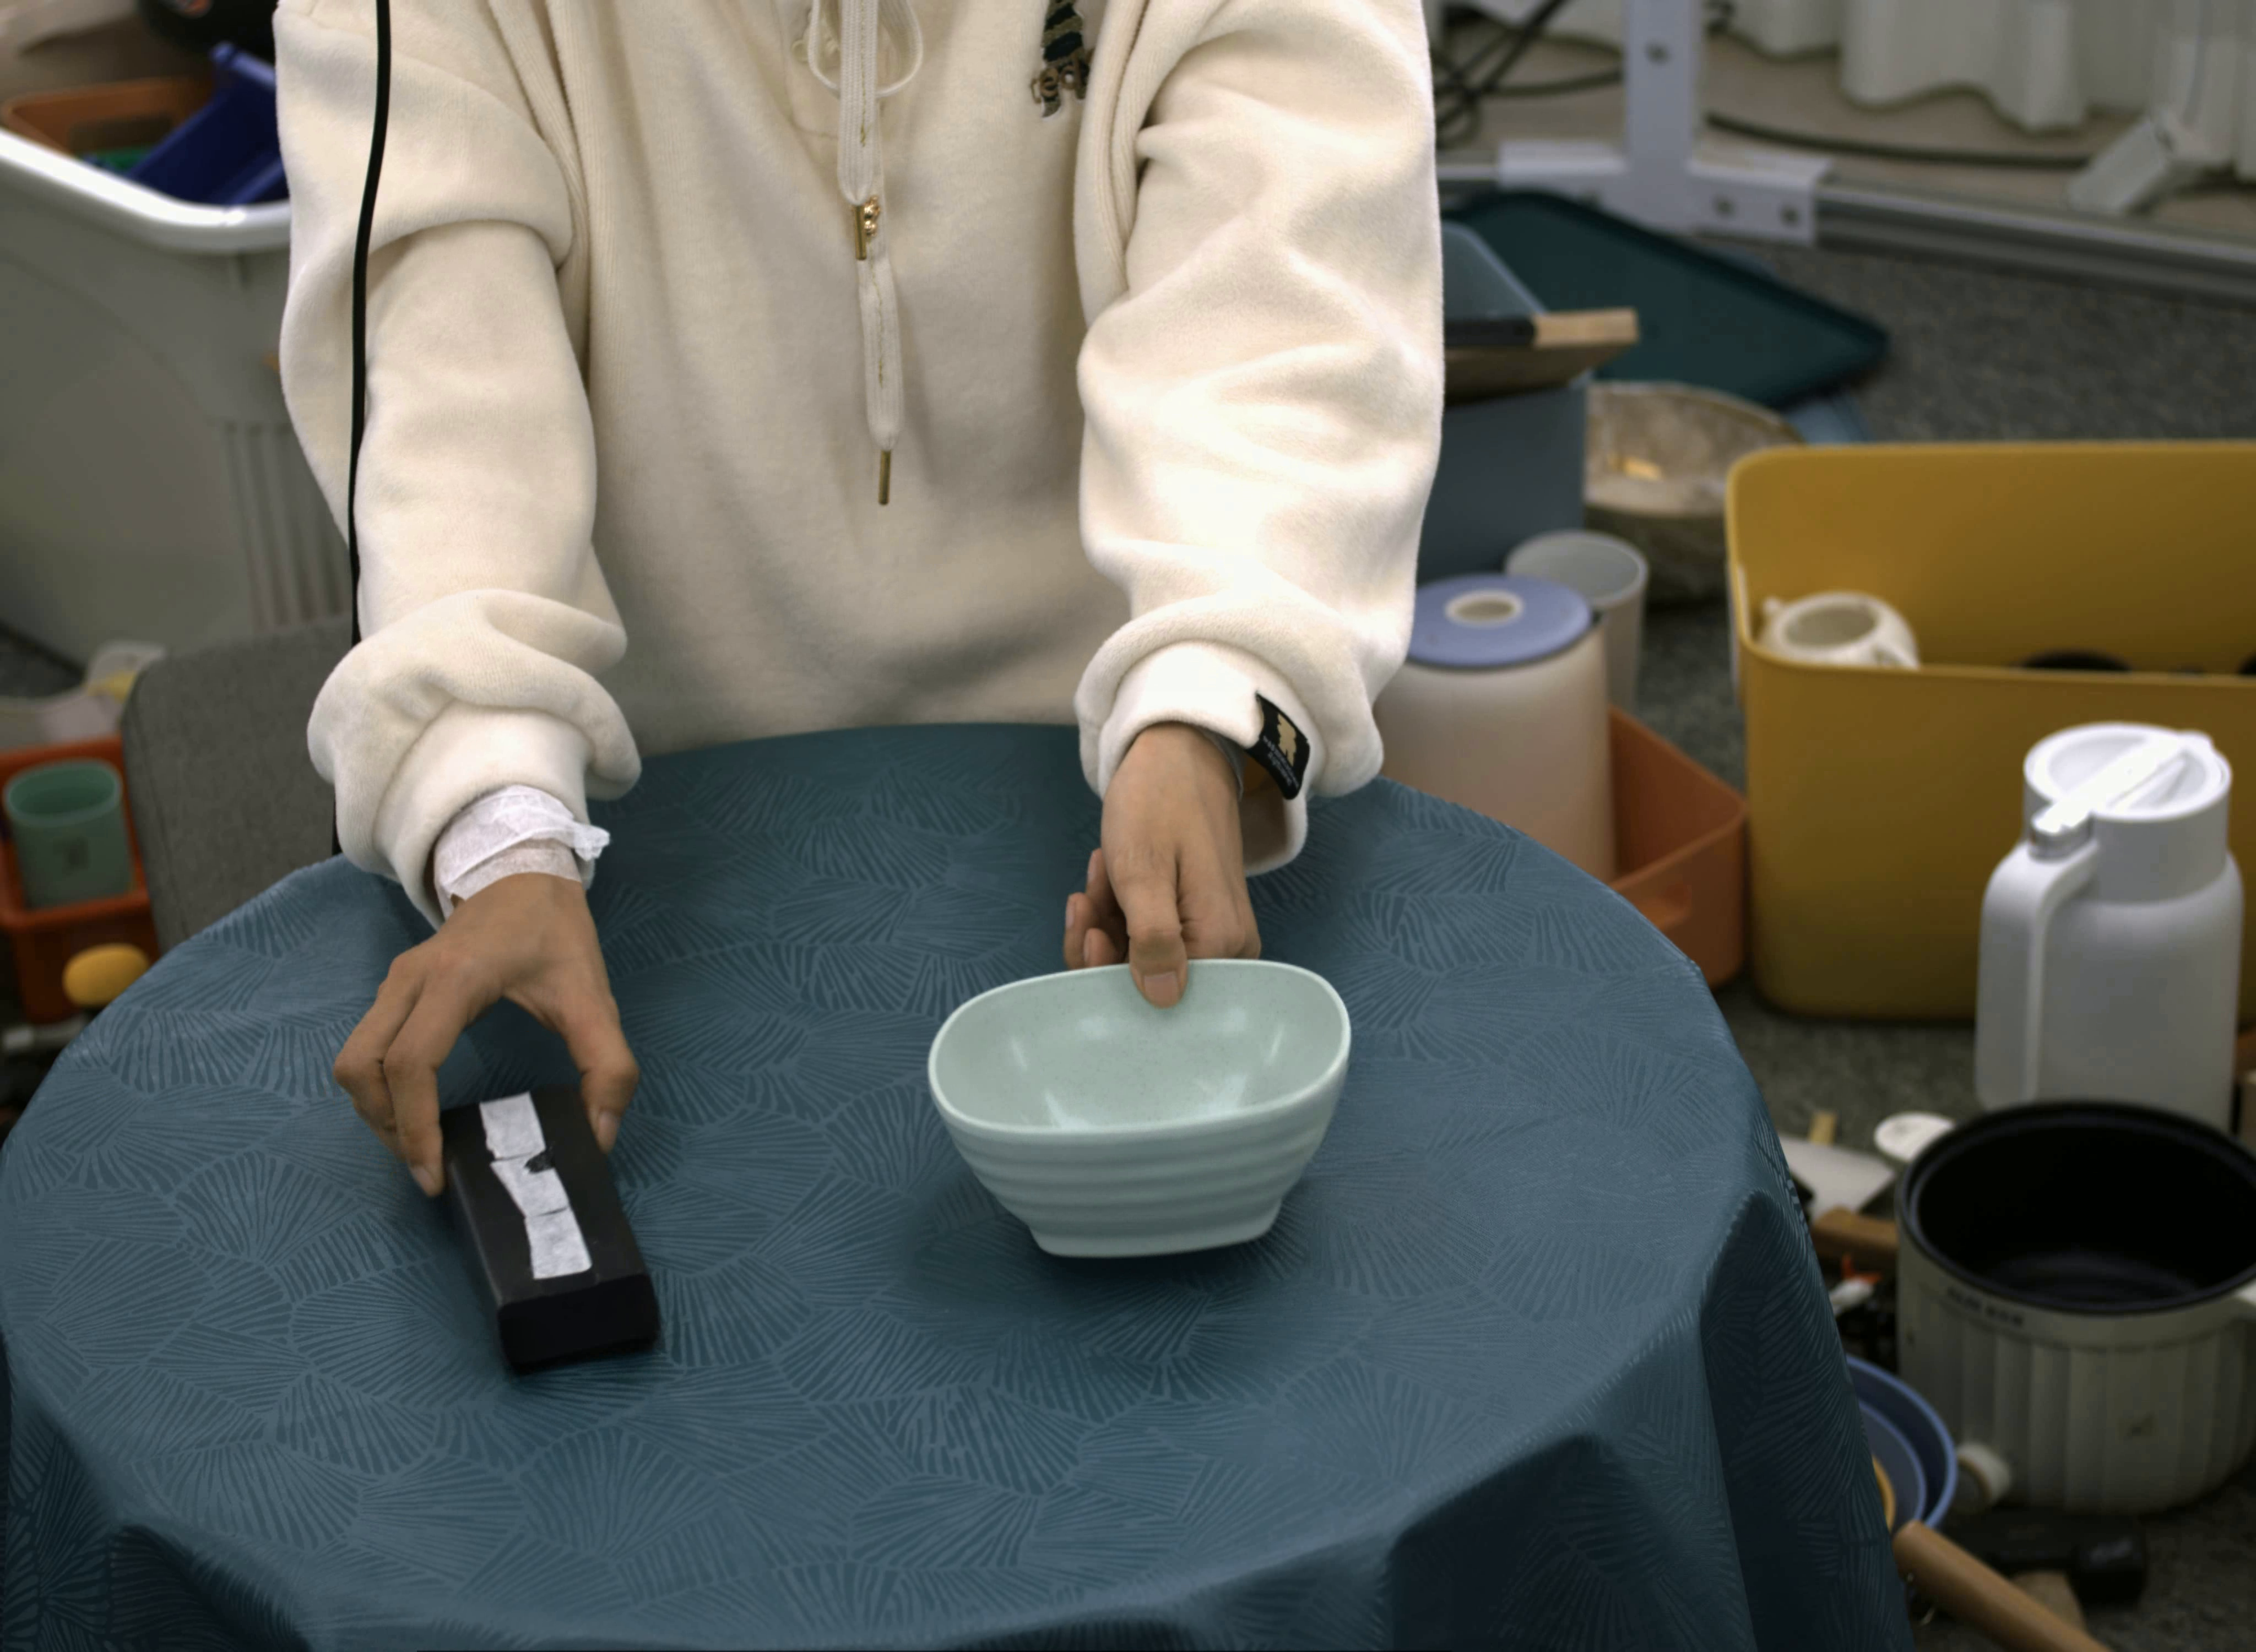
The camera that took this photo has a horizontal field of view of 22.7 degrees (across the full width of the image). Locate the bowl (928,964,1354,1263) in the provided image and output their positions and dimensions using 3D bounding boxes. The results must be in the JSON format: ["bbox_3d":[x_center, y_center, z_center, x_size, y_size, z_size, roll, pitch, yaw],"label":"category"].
[{"bbox_3d":[0.005,0.098,1.833,0.151,0.058,0.153,-2,21,1],"label":"bowl"}]

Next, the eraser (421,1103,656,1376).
[{"bbox_3d":[-0.191,0.134,1.825,0.053,0.030,0.126,-11,27,-14],"label":"eraser"}]
